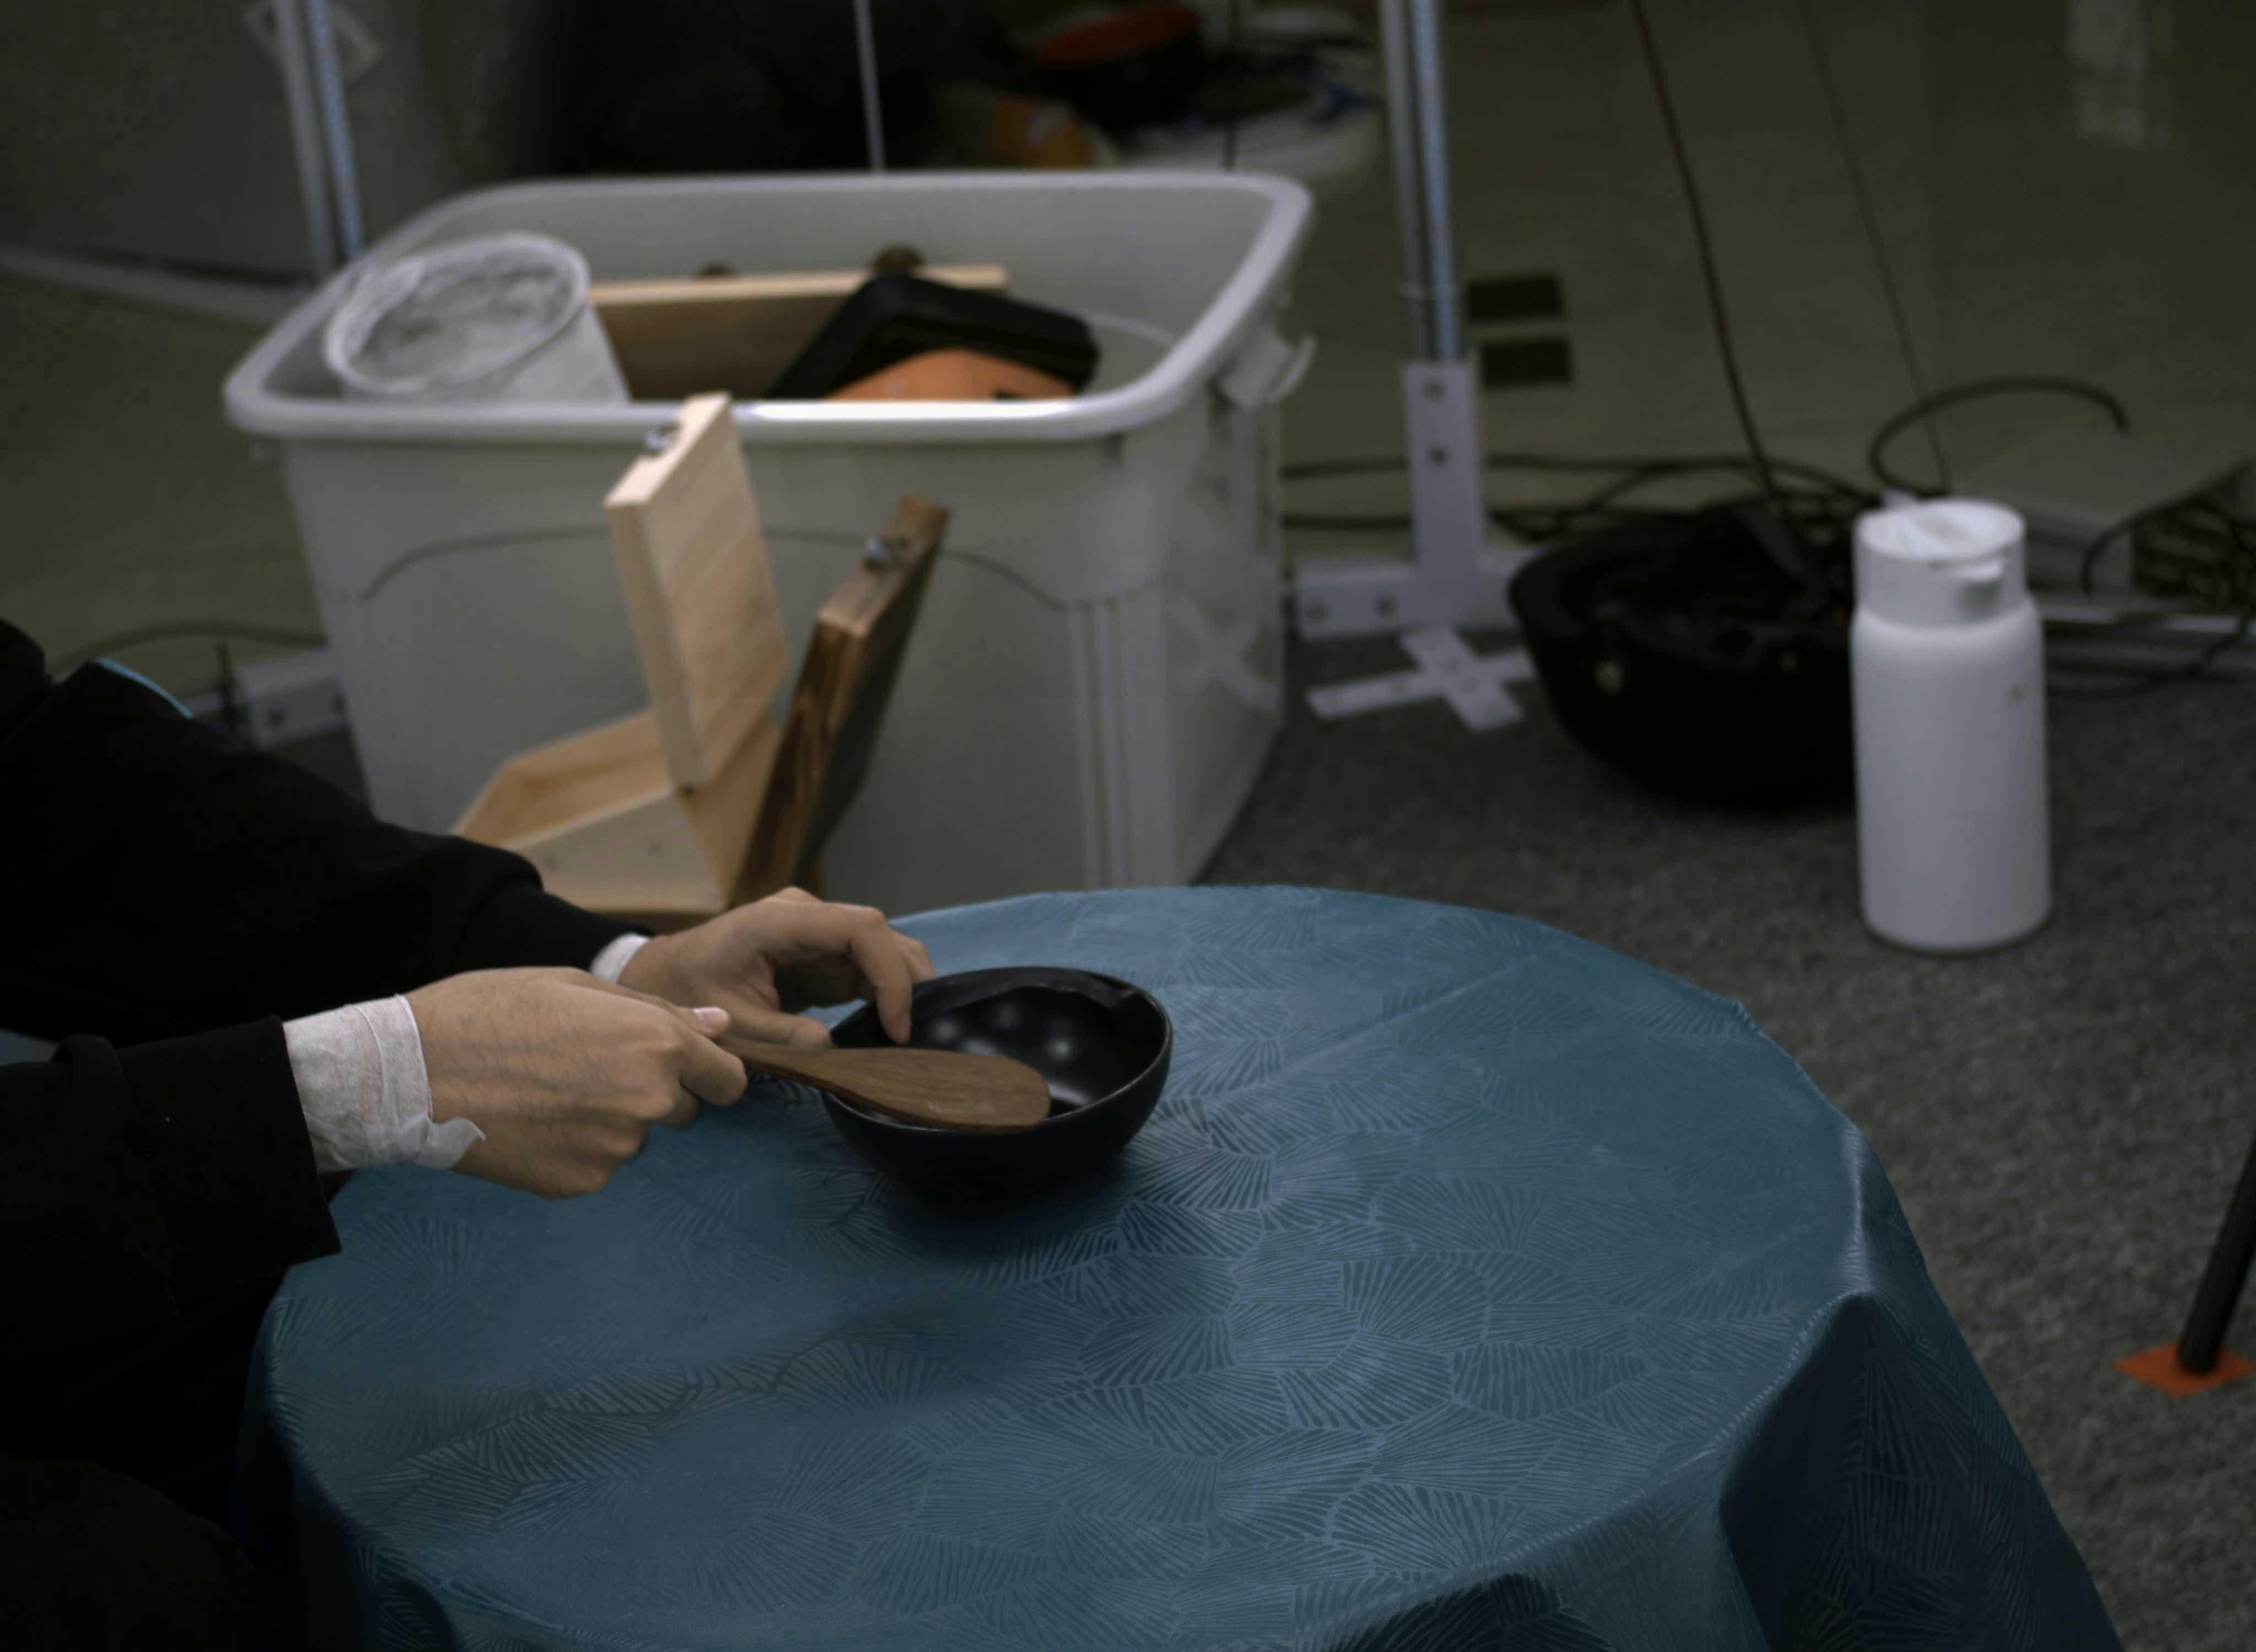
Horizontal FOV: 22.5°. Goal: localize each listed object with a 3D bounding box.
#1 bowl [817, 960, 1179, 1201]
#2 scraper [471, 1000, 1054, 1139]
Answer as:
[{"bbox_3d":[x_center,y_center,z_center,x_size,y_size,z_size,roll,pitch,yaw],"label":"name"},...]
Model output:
[{"bbox_3d":[-0.048,0.105,2.177,0.140,0.050,0.138,-3,27,2],"label":"bowl"},{"bbox_3d":[-0.131,0.084,2.033,0.211,0.011,0.075,10,17,-6],"label":"scraper"}]
